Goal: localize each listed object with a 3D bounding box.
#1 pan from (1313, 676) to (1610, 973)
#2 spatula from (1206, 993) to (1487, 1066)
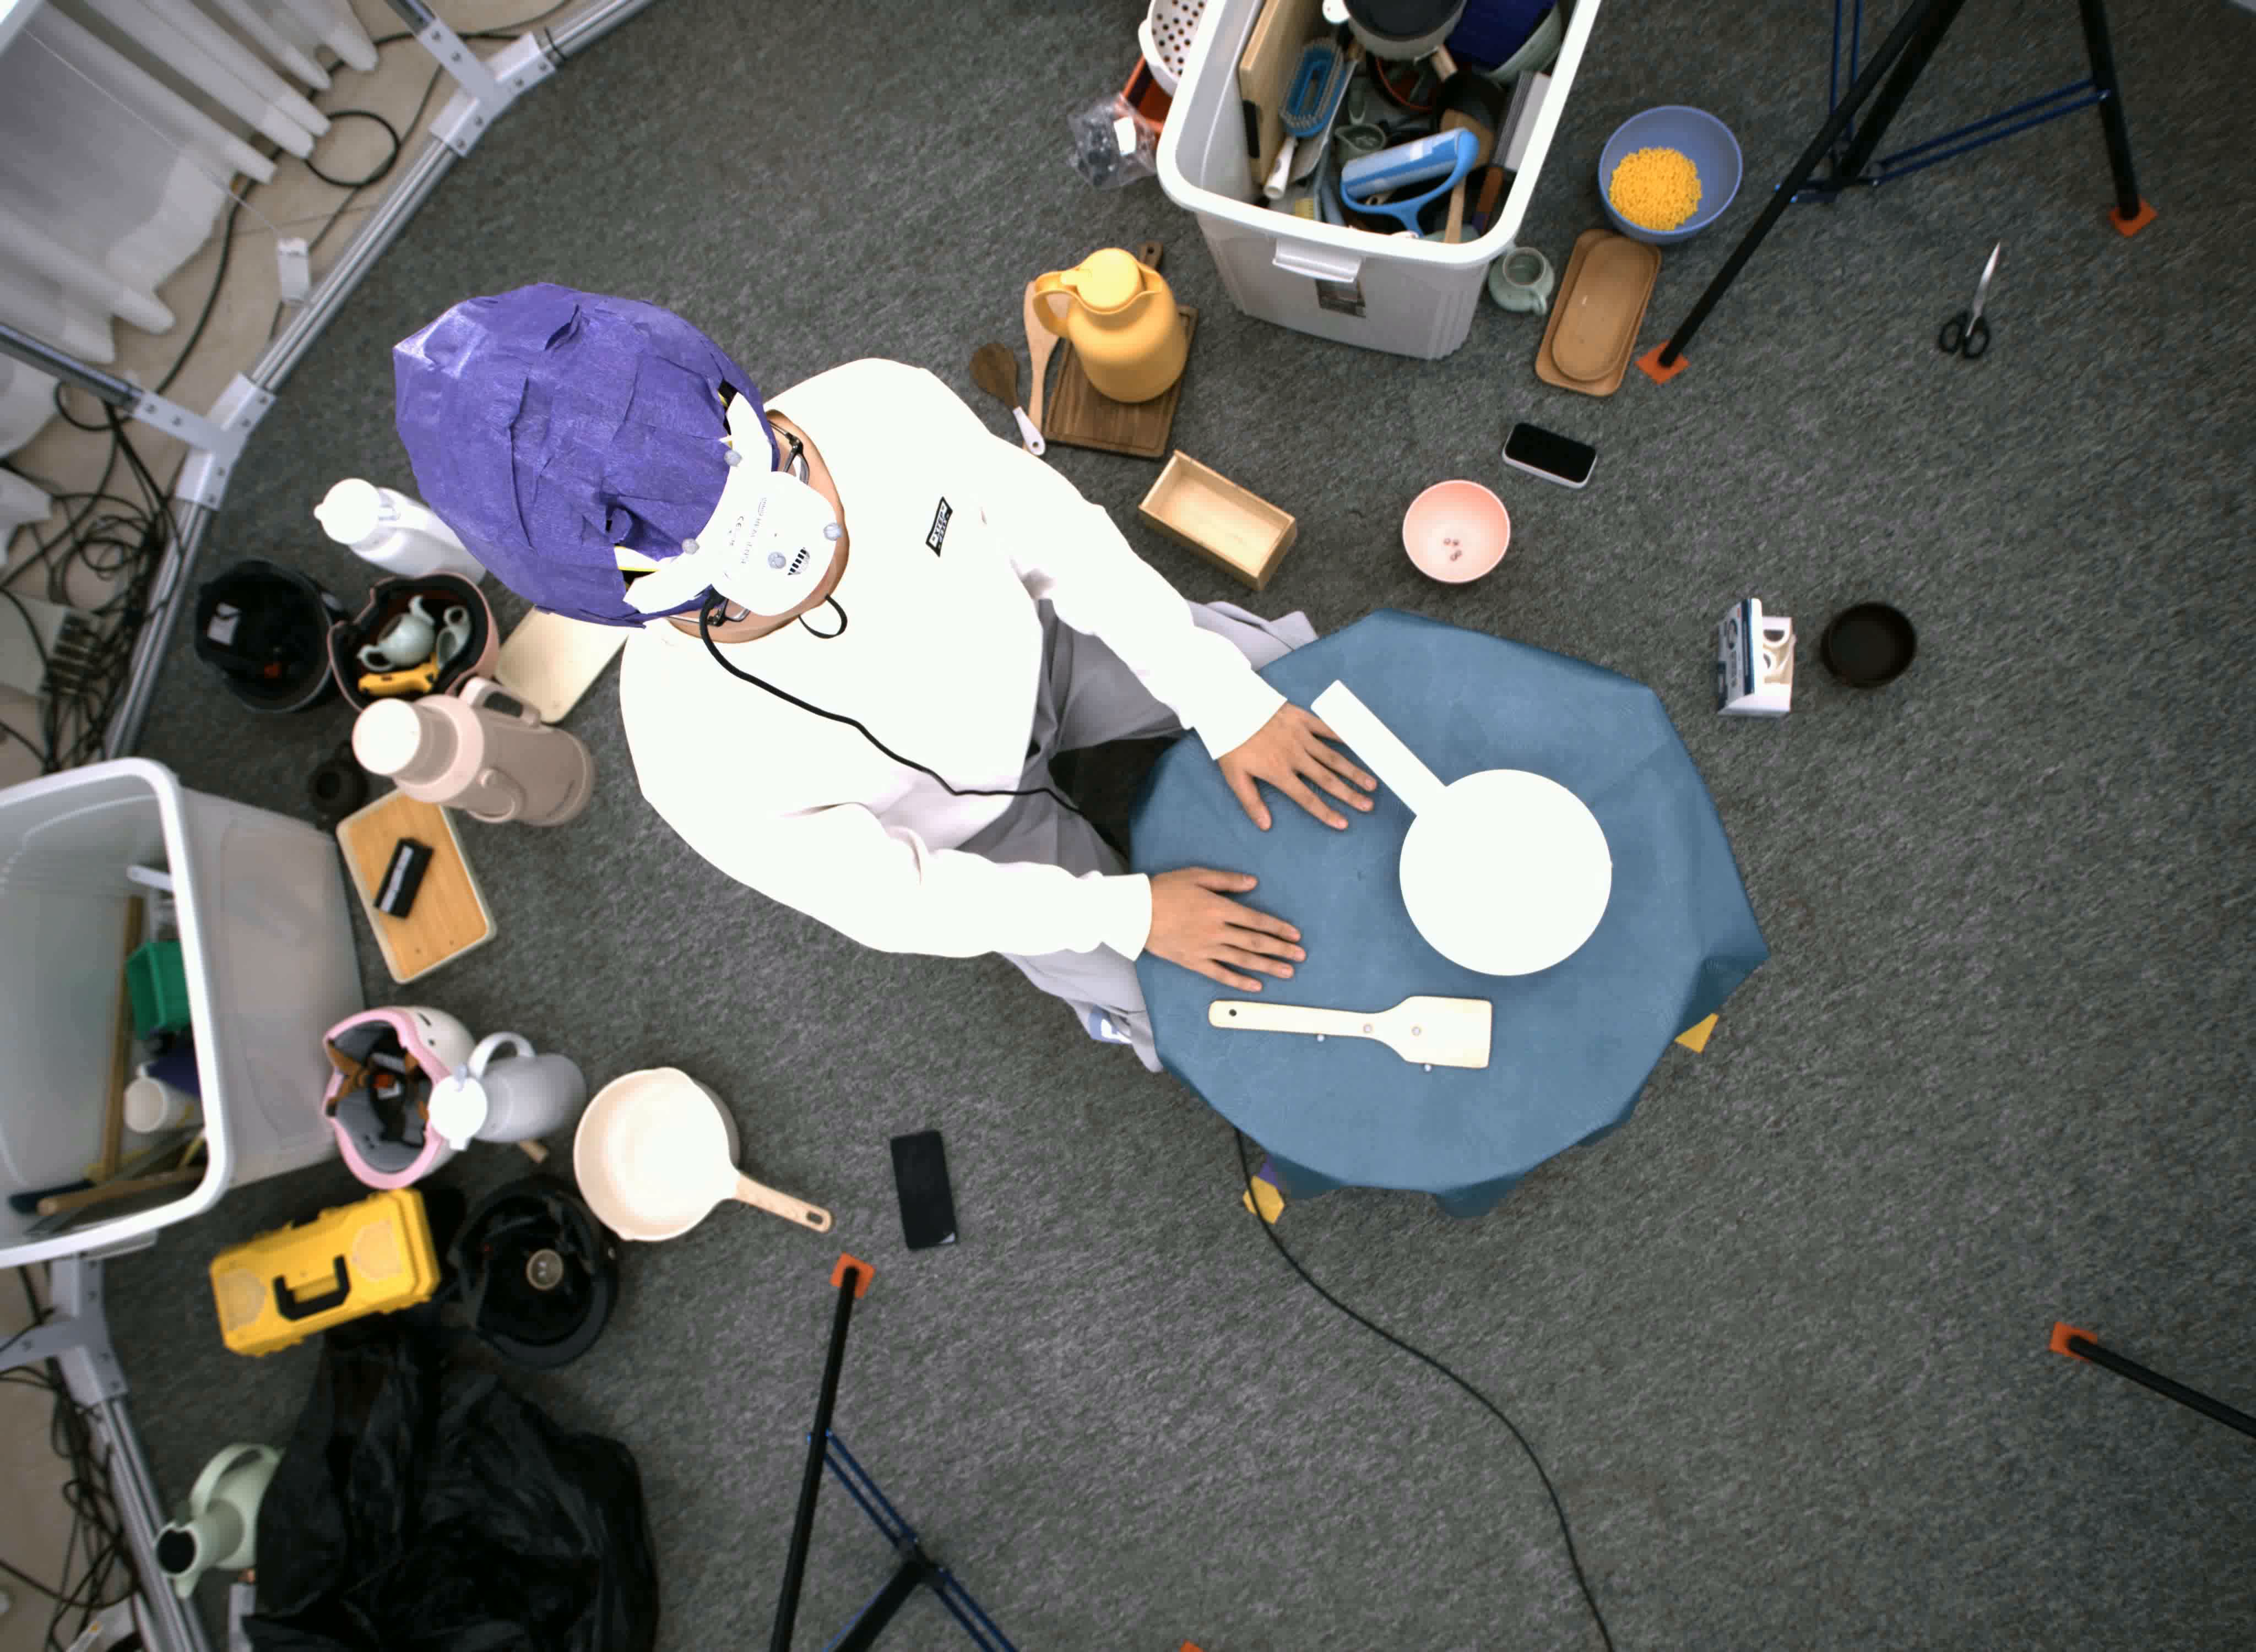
[{"bbox_3d":[0.324,-0.009,1.402,0.202,0.102,0.353,-44,80,5],"label":"pan"},{"bbox_3d":[0.227,0.205,1.456,0.294,0.010,0.072,3,89,11],"label":"spatula"}]
